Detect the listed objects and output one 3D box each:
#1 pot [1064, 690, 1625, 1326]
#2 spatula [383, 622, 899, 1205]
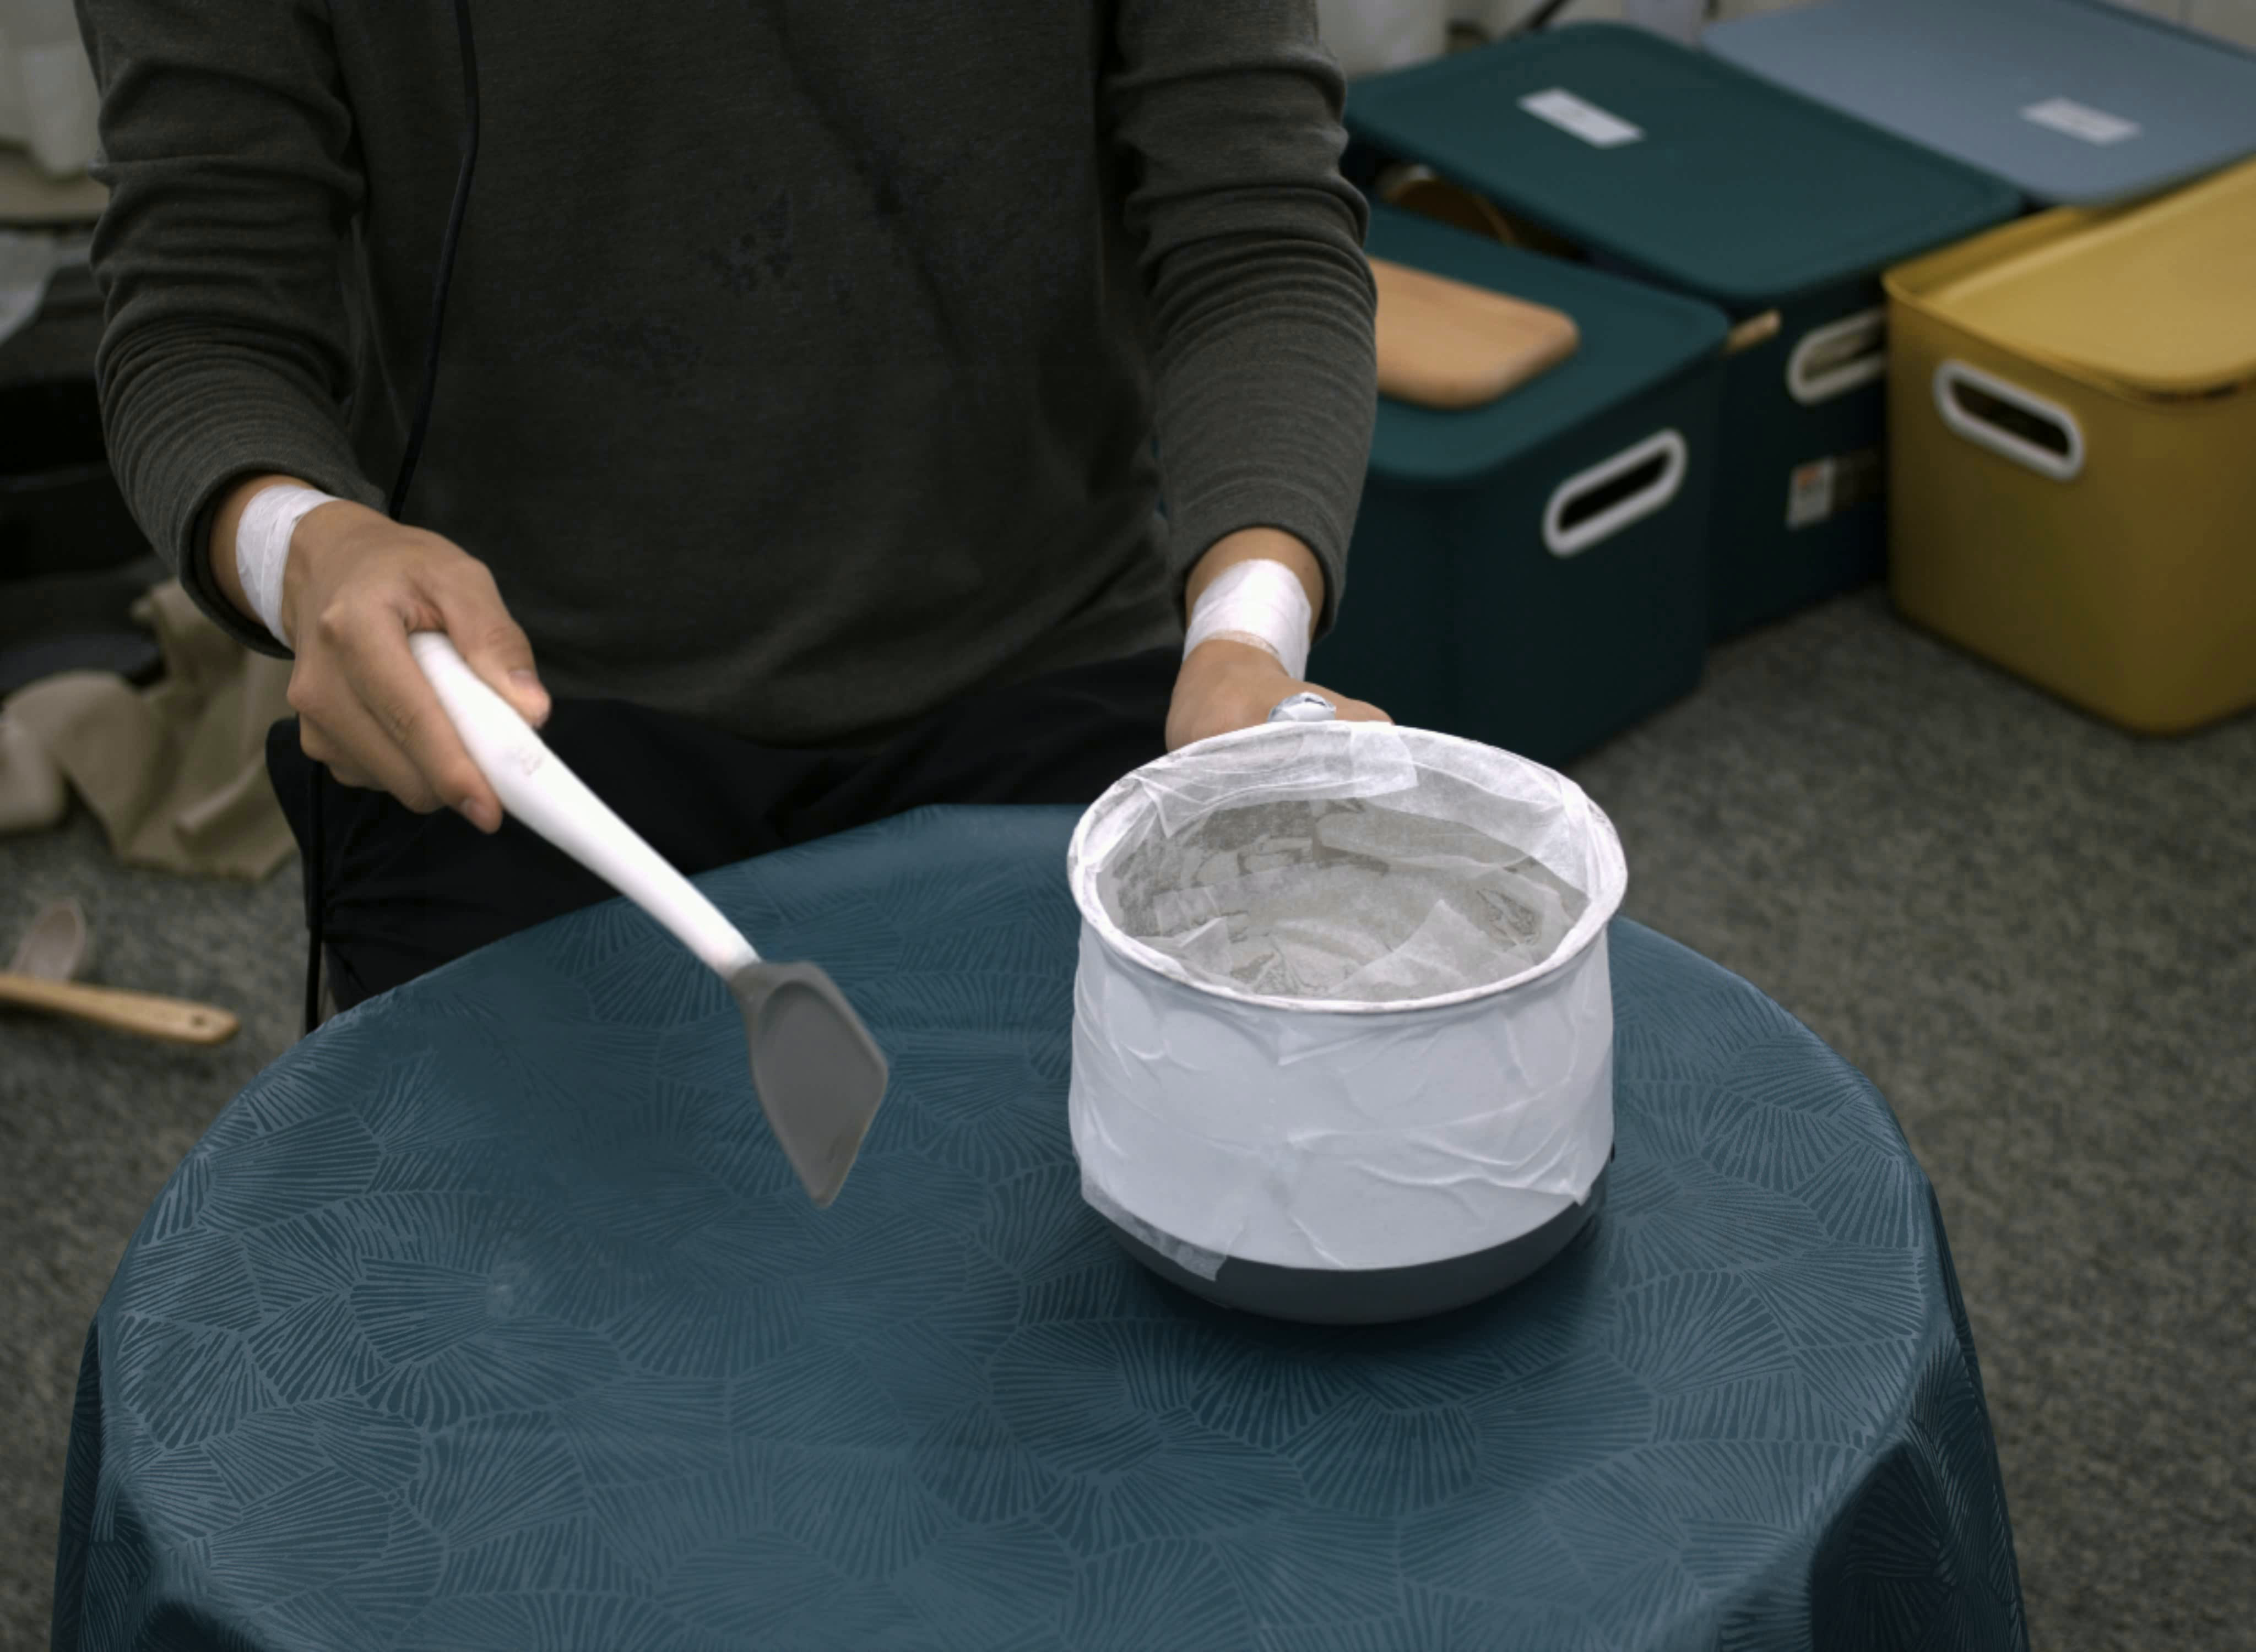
[{"bbox_3d":[0.065,0.051,1.823,0.178,0.135,0.237,-3,29,-6],"label":"pot"},{"bbox_3d":[-0.150,0.020,1.758,0.032,0.058,0.289,14,21,-46],"label":"spatula"}]
